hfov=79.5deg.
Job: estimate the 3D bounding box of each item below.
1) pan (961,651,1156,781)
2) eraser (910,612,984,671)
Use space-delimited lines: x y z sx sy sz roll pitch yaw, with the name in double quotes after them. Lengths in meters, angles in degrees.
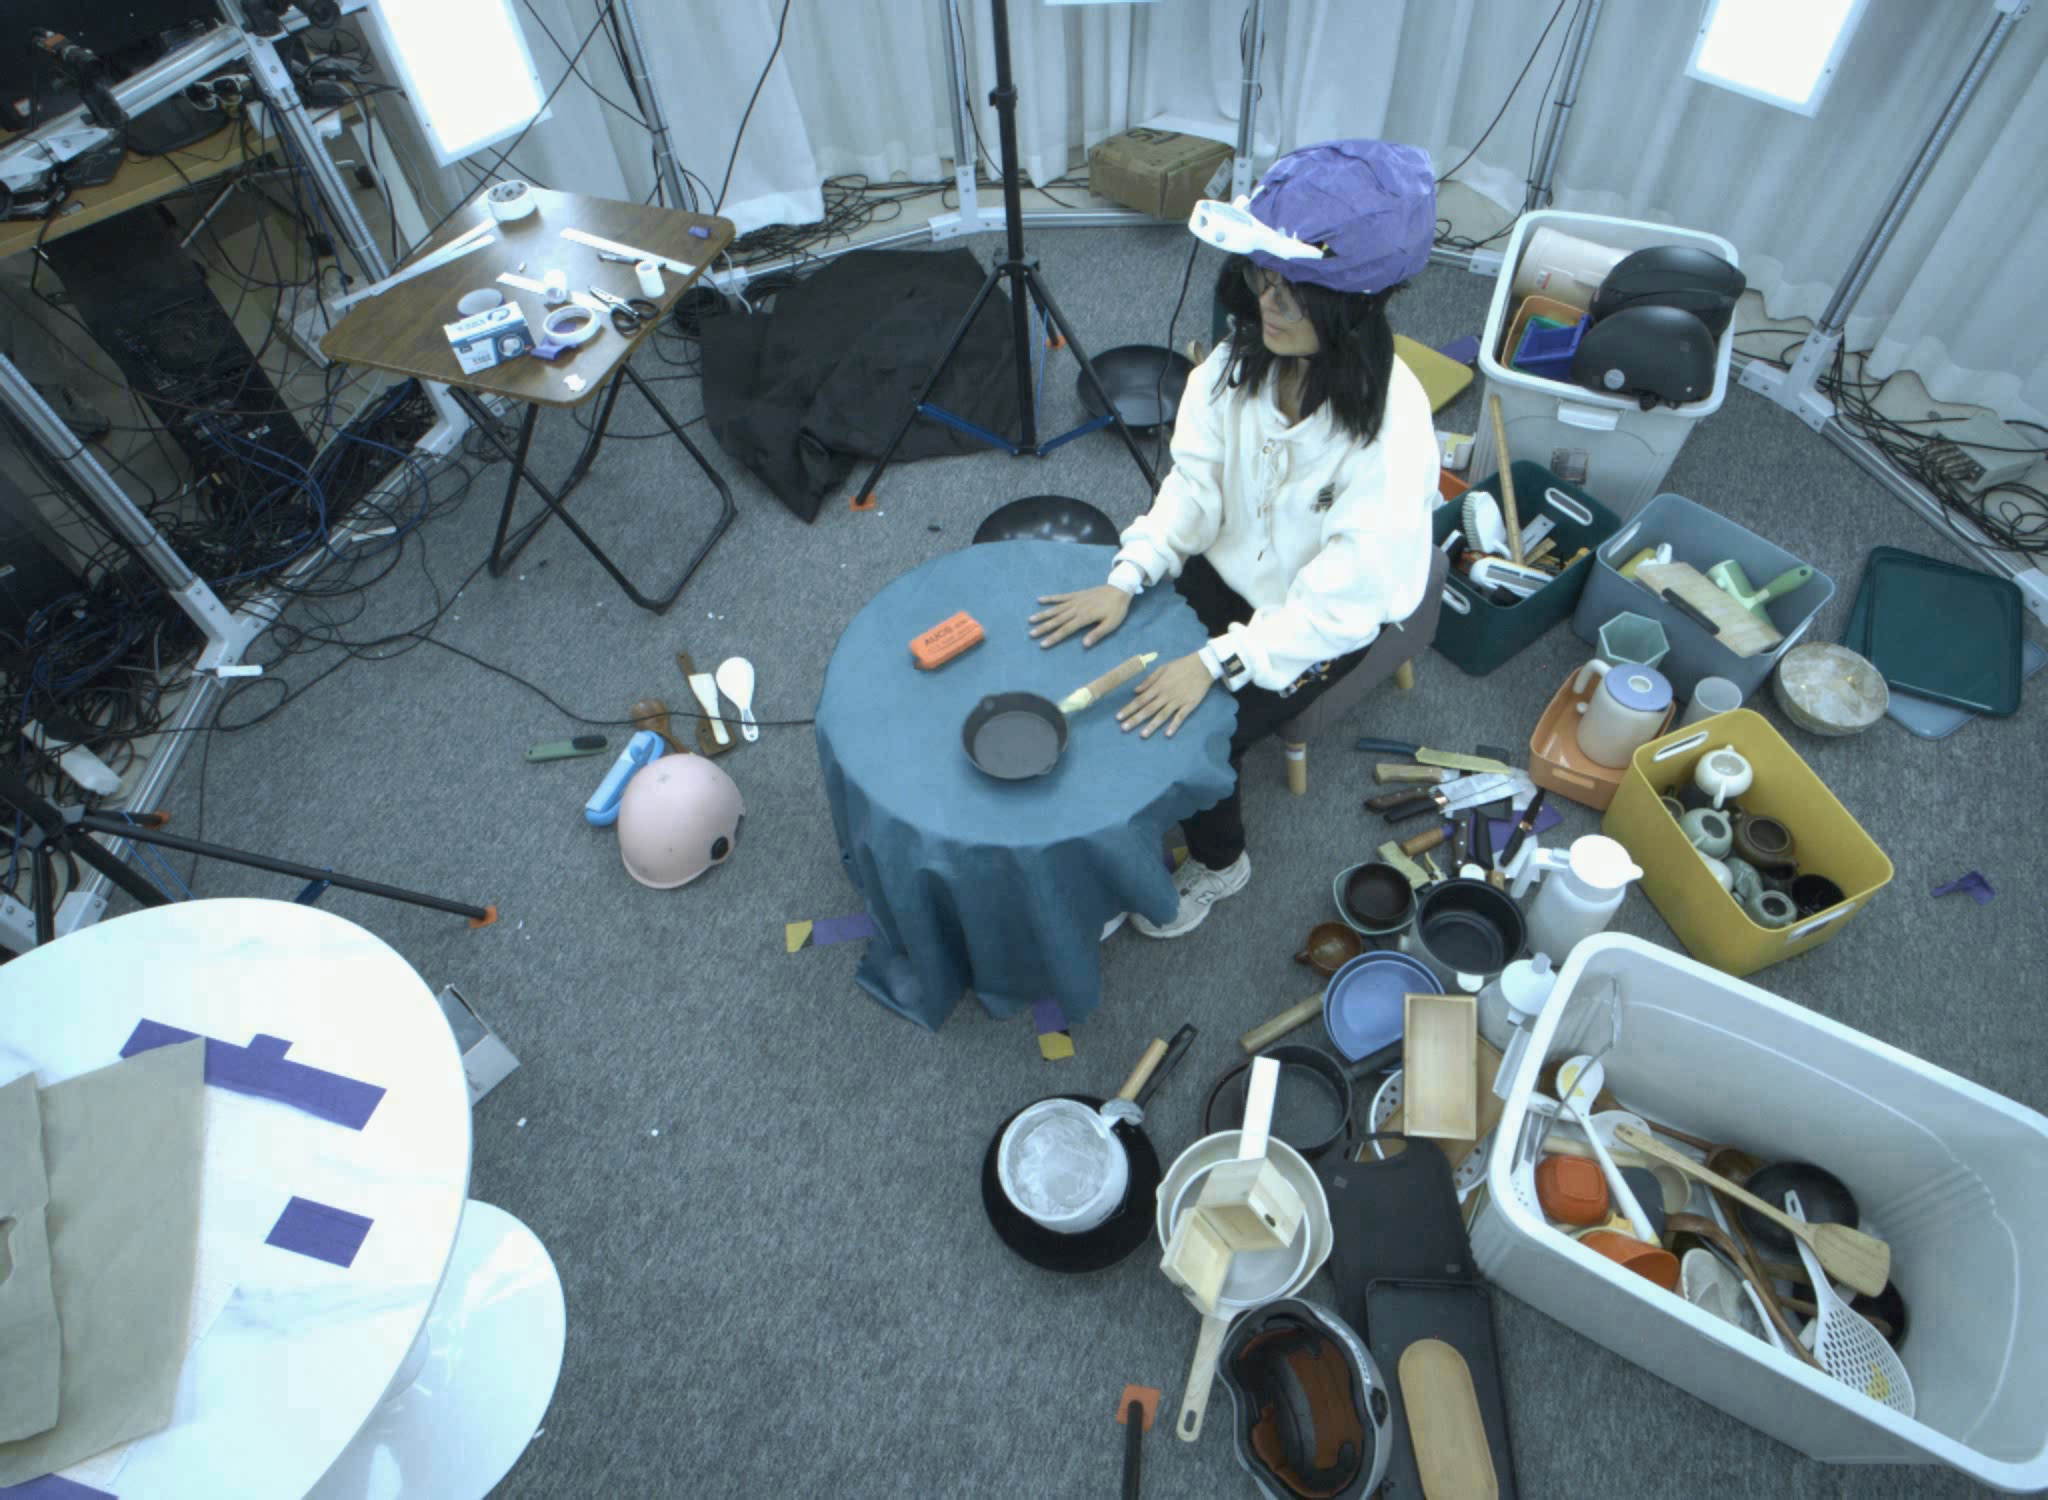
0.060 -0.059 1.796 0.326 0.050 0.166 -29 58 -16 "pan"
-0.119 -0.168 1.896 0.109 0.023 0.058 -33 59 -19 "eraser"
